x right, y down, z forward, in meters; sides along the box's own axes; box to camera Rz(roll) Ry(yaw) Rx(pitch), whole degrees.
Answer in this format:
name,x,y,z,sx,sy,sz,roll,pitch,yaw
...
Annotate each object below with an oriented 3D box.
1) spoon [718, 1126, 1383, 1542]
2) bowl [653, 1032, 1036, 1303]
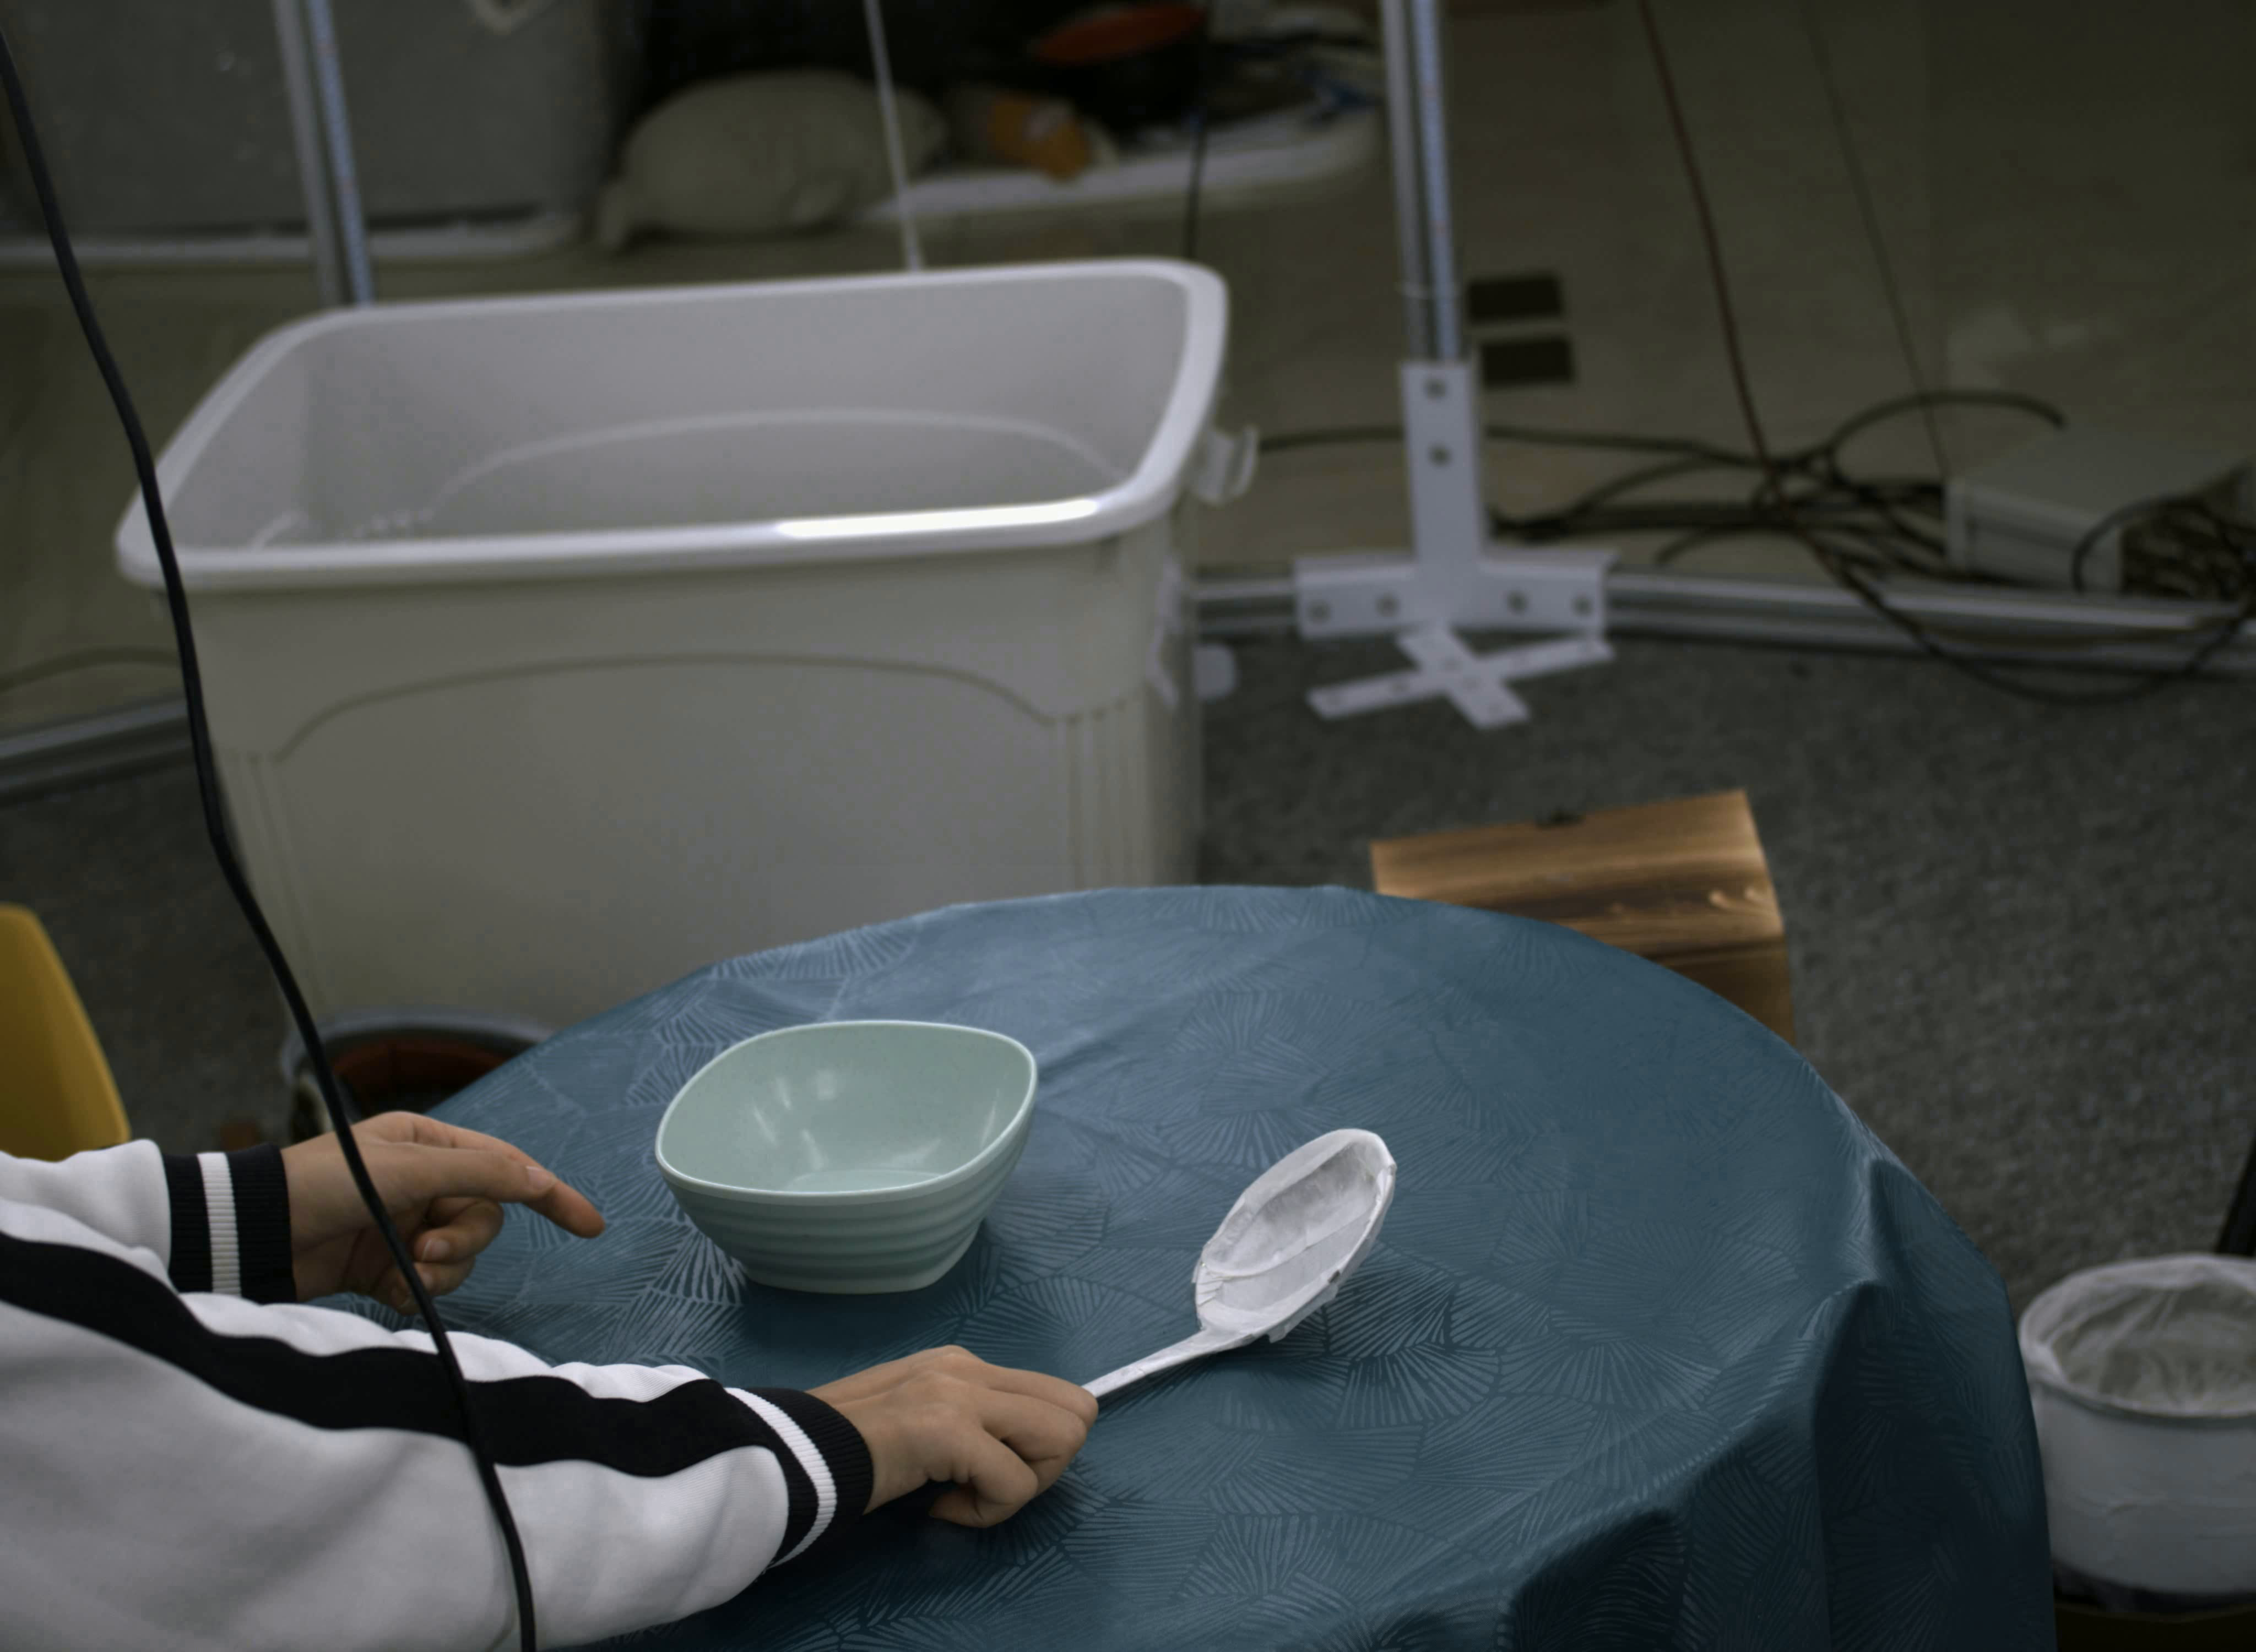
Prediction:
name,x,y,z,sx,sy,sz,roll,pitch,yaw
spoon,-0.029,0.178,2.008,0.276,0.060,0.100,-19,8,-23
bowl,-0.102,0.133,2.124,0.151,0.059,0.149,-6,25,3
